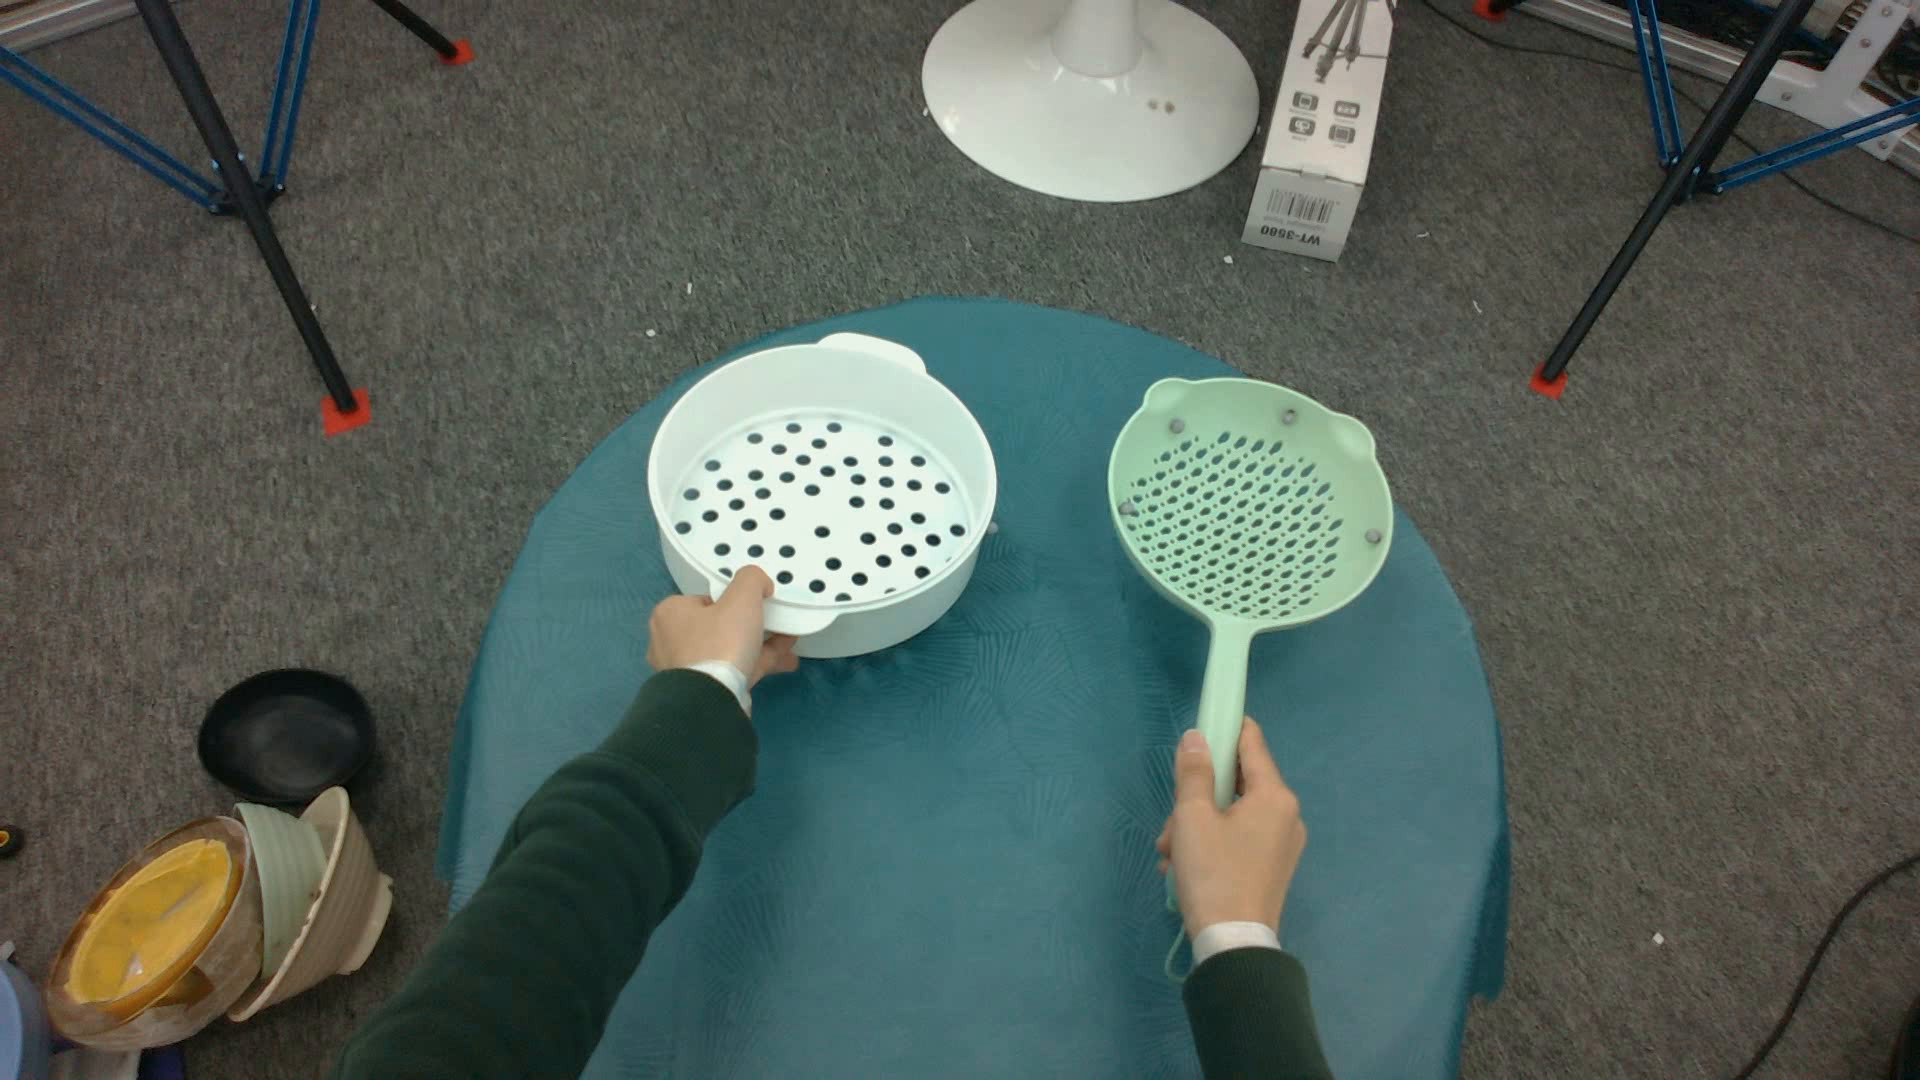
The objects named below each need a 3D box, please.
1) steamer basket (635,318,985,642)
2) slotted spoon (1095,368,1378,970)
[{"bbox_3d":[-0.089,-0.033,0.822,0.202,0.069,0.232,13,52,2],"label":"steamer basket"},{"bbox_3d":[0.141,0.054,0.764,0.169,0.075,0.360,13,51,2],"label":"slotted spoon"}]
